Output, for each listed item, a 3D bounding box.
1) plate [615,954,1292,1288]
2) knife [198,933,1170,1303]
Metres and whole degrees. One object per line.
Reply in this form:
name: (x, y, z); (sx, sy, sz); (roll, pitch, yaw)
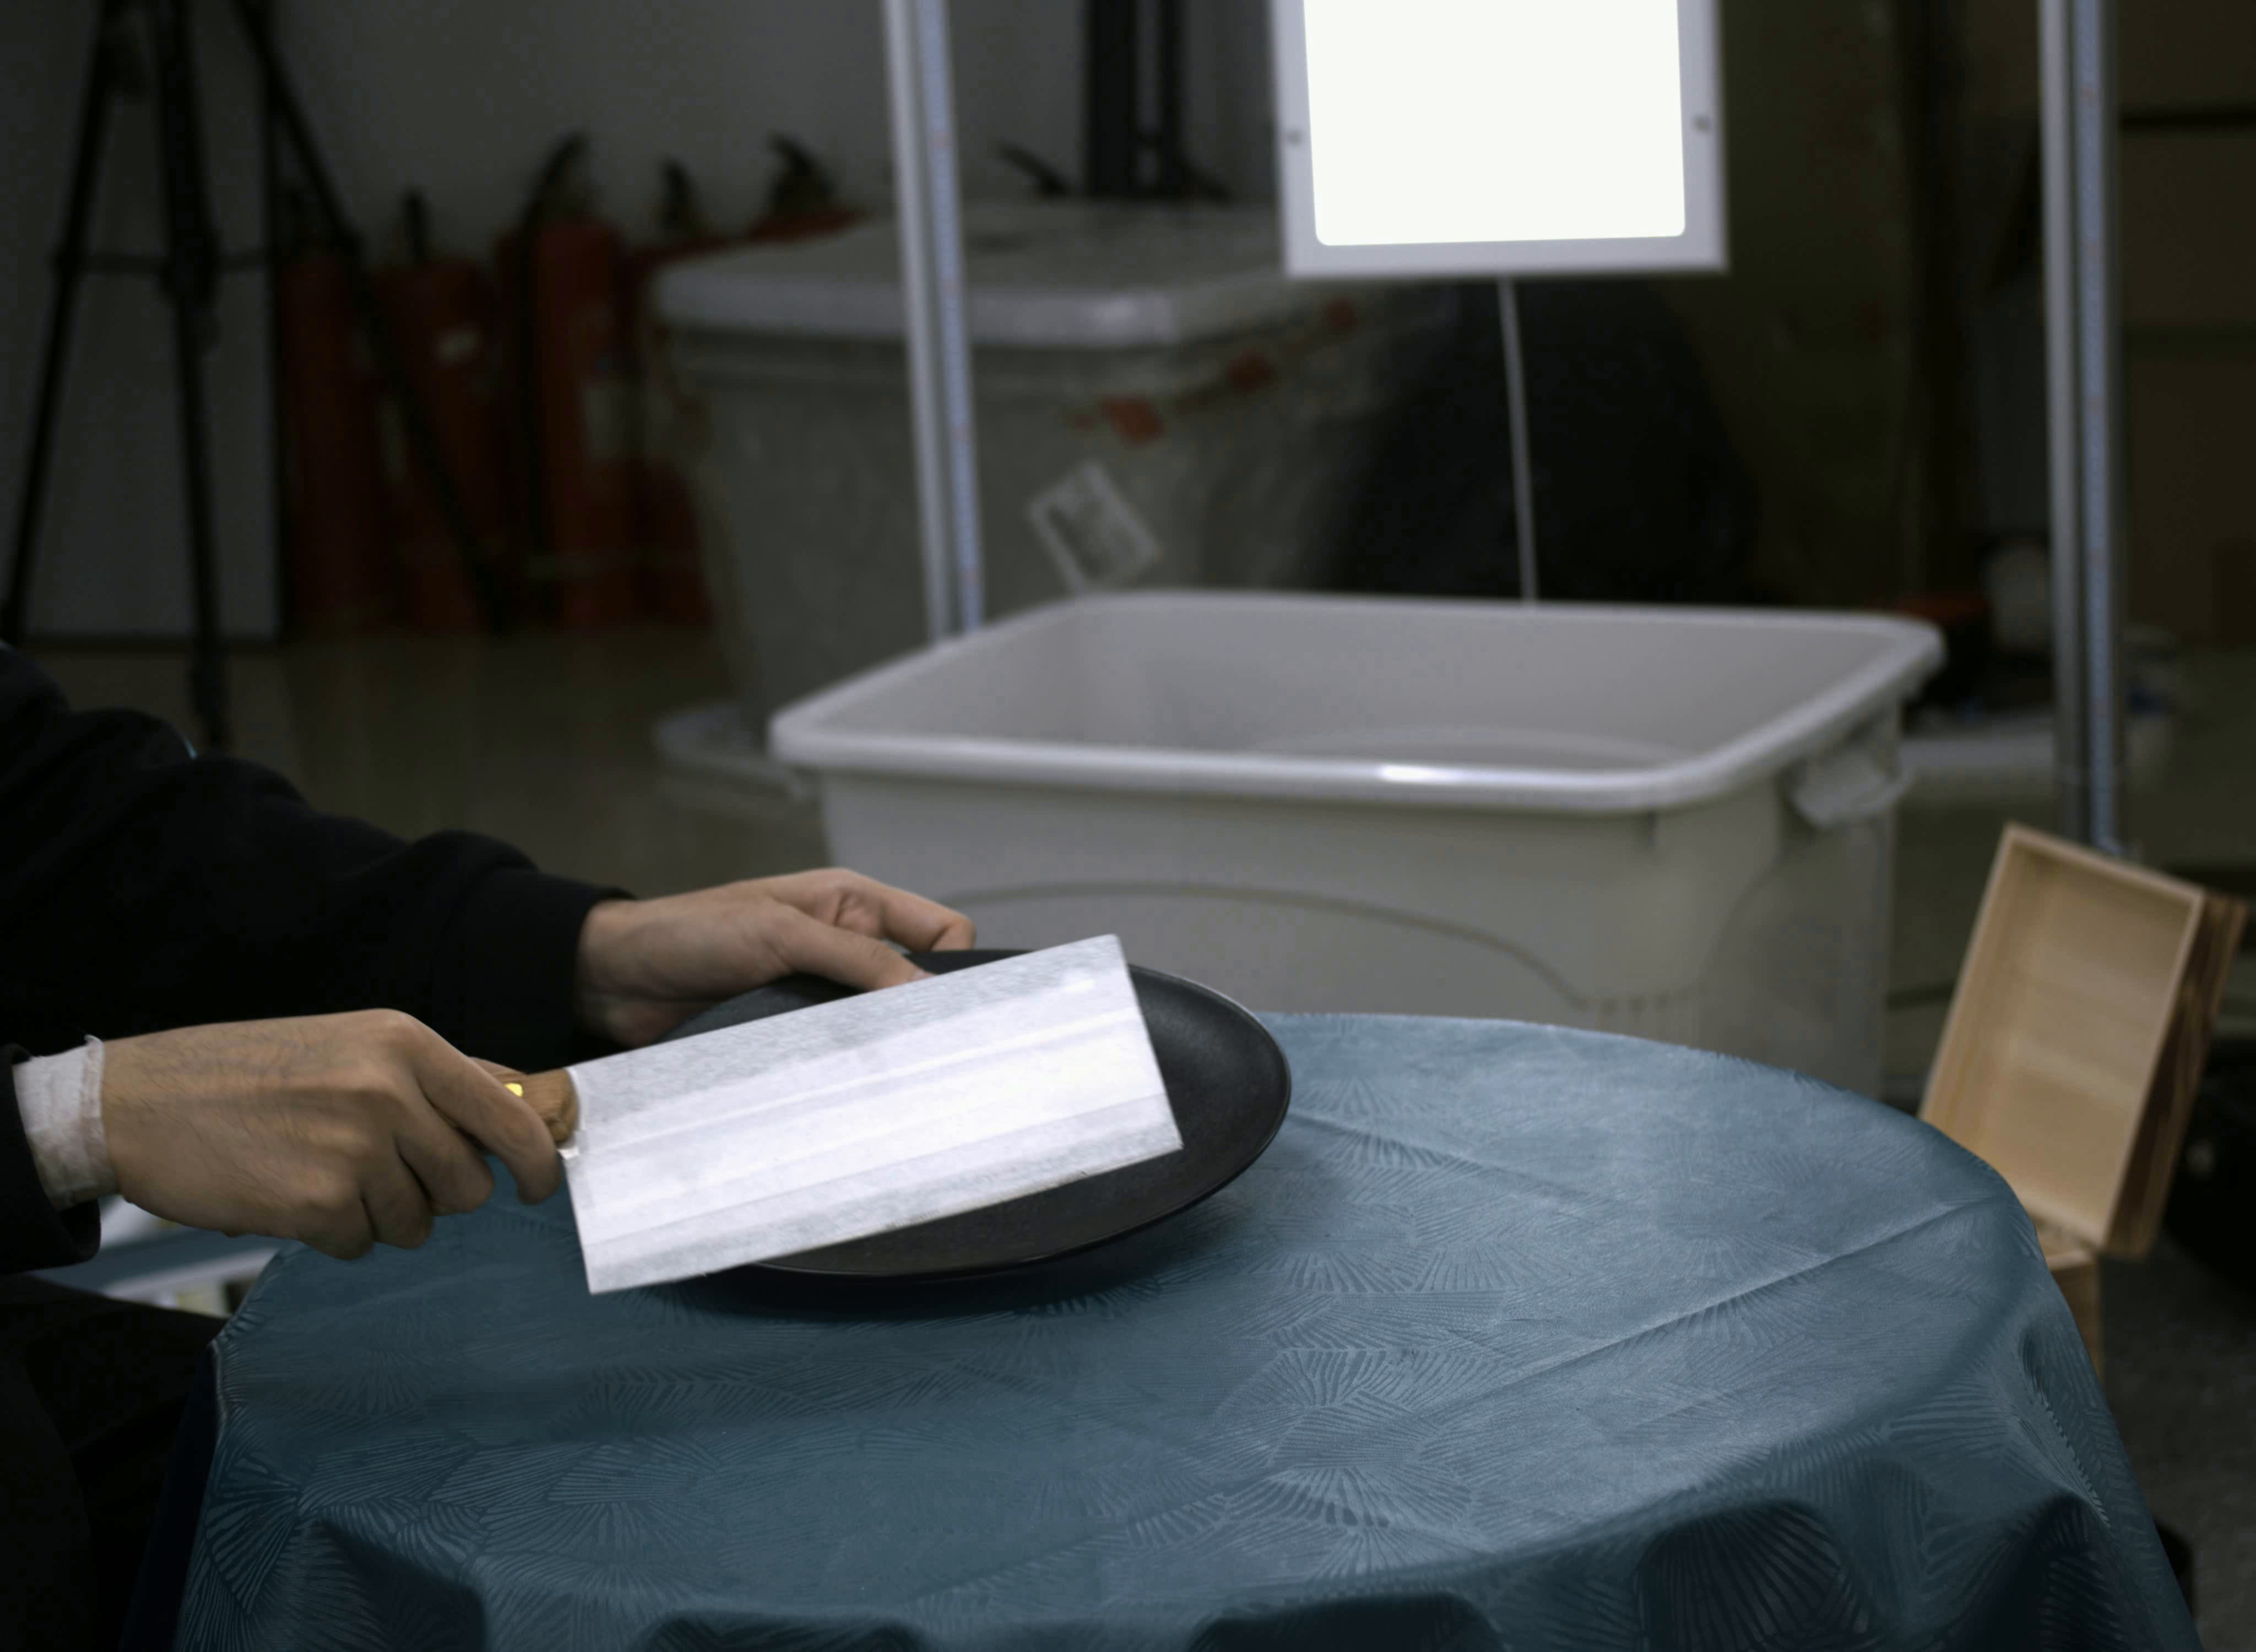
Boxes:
plate: (-0.064, 0.105, 1.894); (0.244, 0.023, 0.244); (-5, 24, 1)
knife: (-0.138, 0.103, 1.729); (0.305, 0.021, 0.093); (-14, 53, -1)
